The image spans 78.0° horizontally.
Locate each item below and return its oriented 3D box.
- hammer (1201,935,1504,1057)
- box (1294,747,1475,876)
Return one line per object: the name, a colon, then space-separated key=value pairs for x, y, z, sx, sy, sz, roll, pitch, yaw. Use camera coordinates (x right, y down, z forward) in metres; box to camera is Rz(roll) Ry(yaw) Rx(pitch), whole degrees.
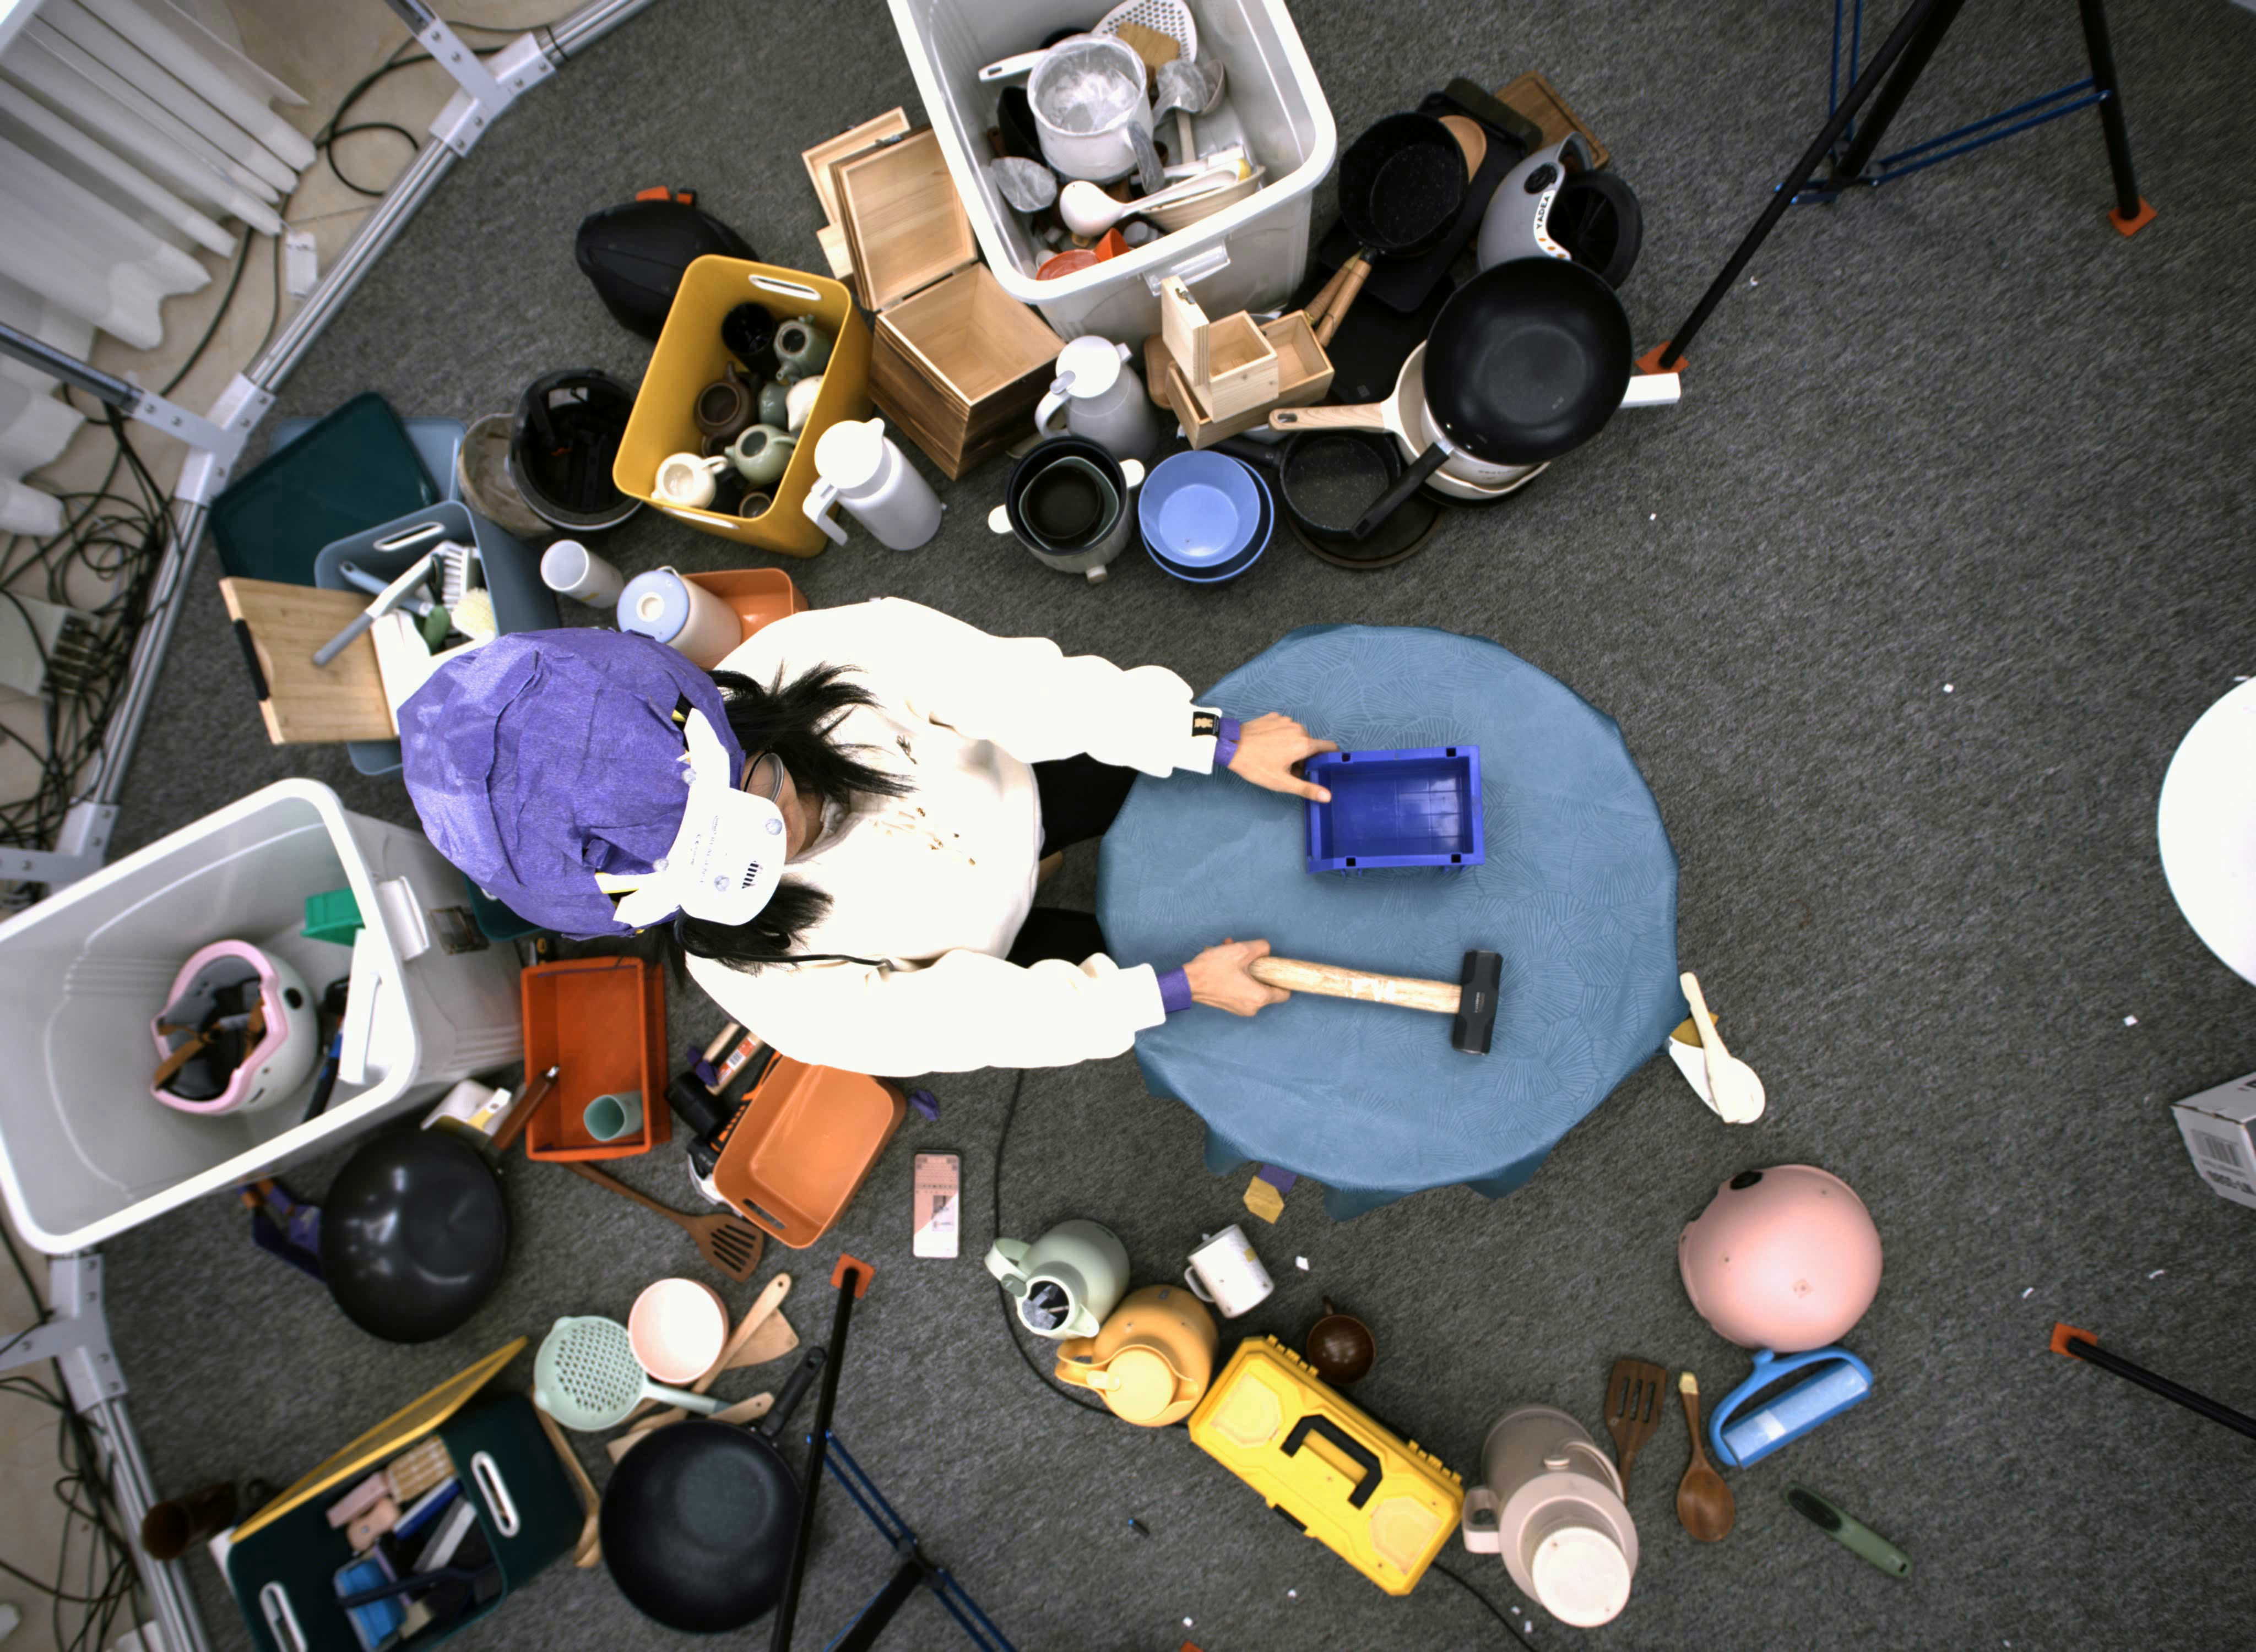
hammer: x=0.228 y=0.157 z=1.437 sx=0.306 sy=0.038 sz=0.107 roll=10 pitch=88 yaw=8
box: x=0.262 y=-0.013 z=1.425 sx=0.180 sy=0.082 sz=0.124 roll=-1 pitch=86 yaw=8
